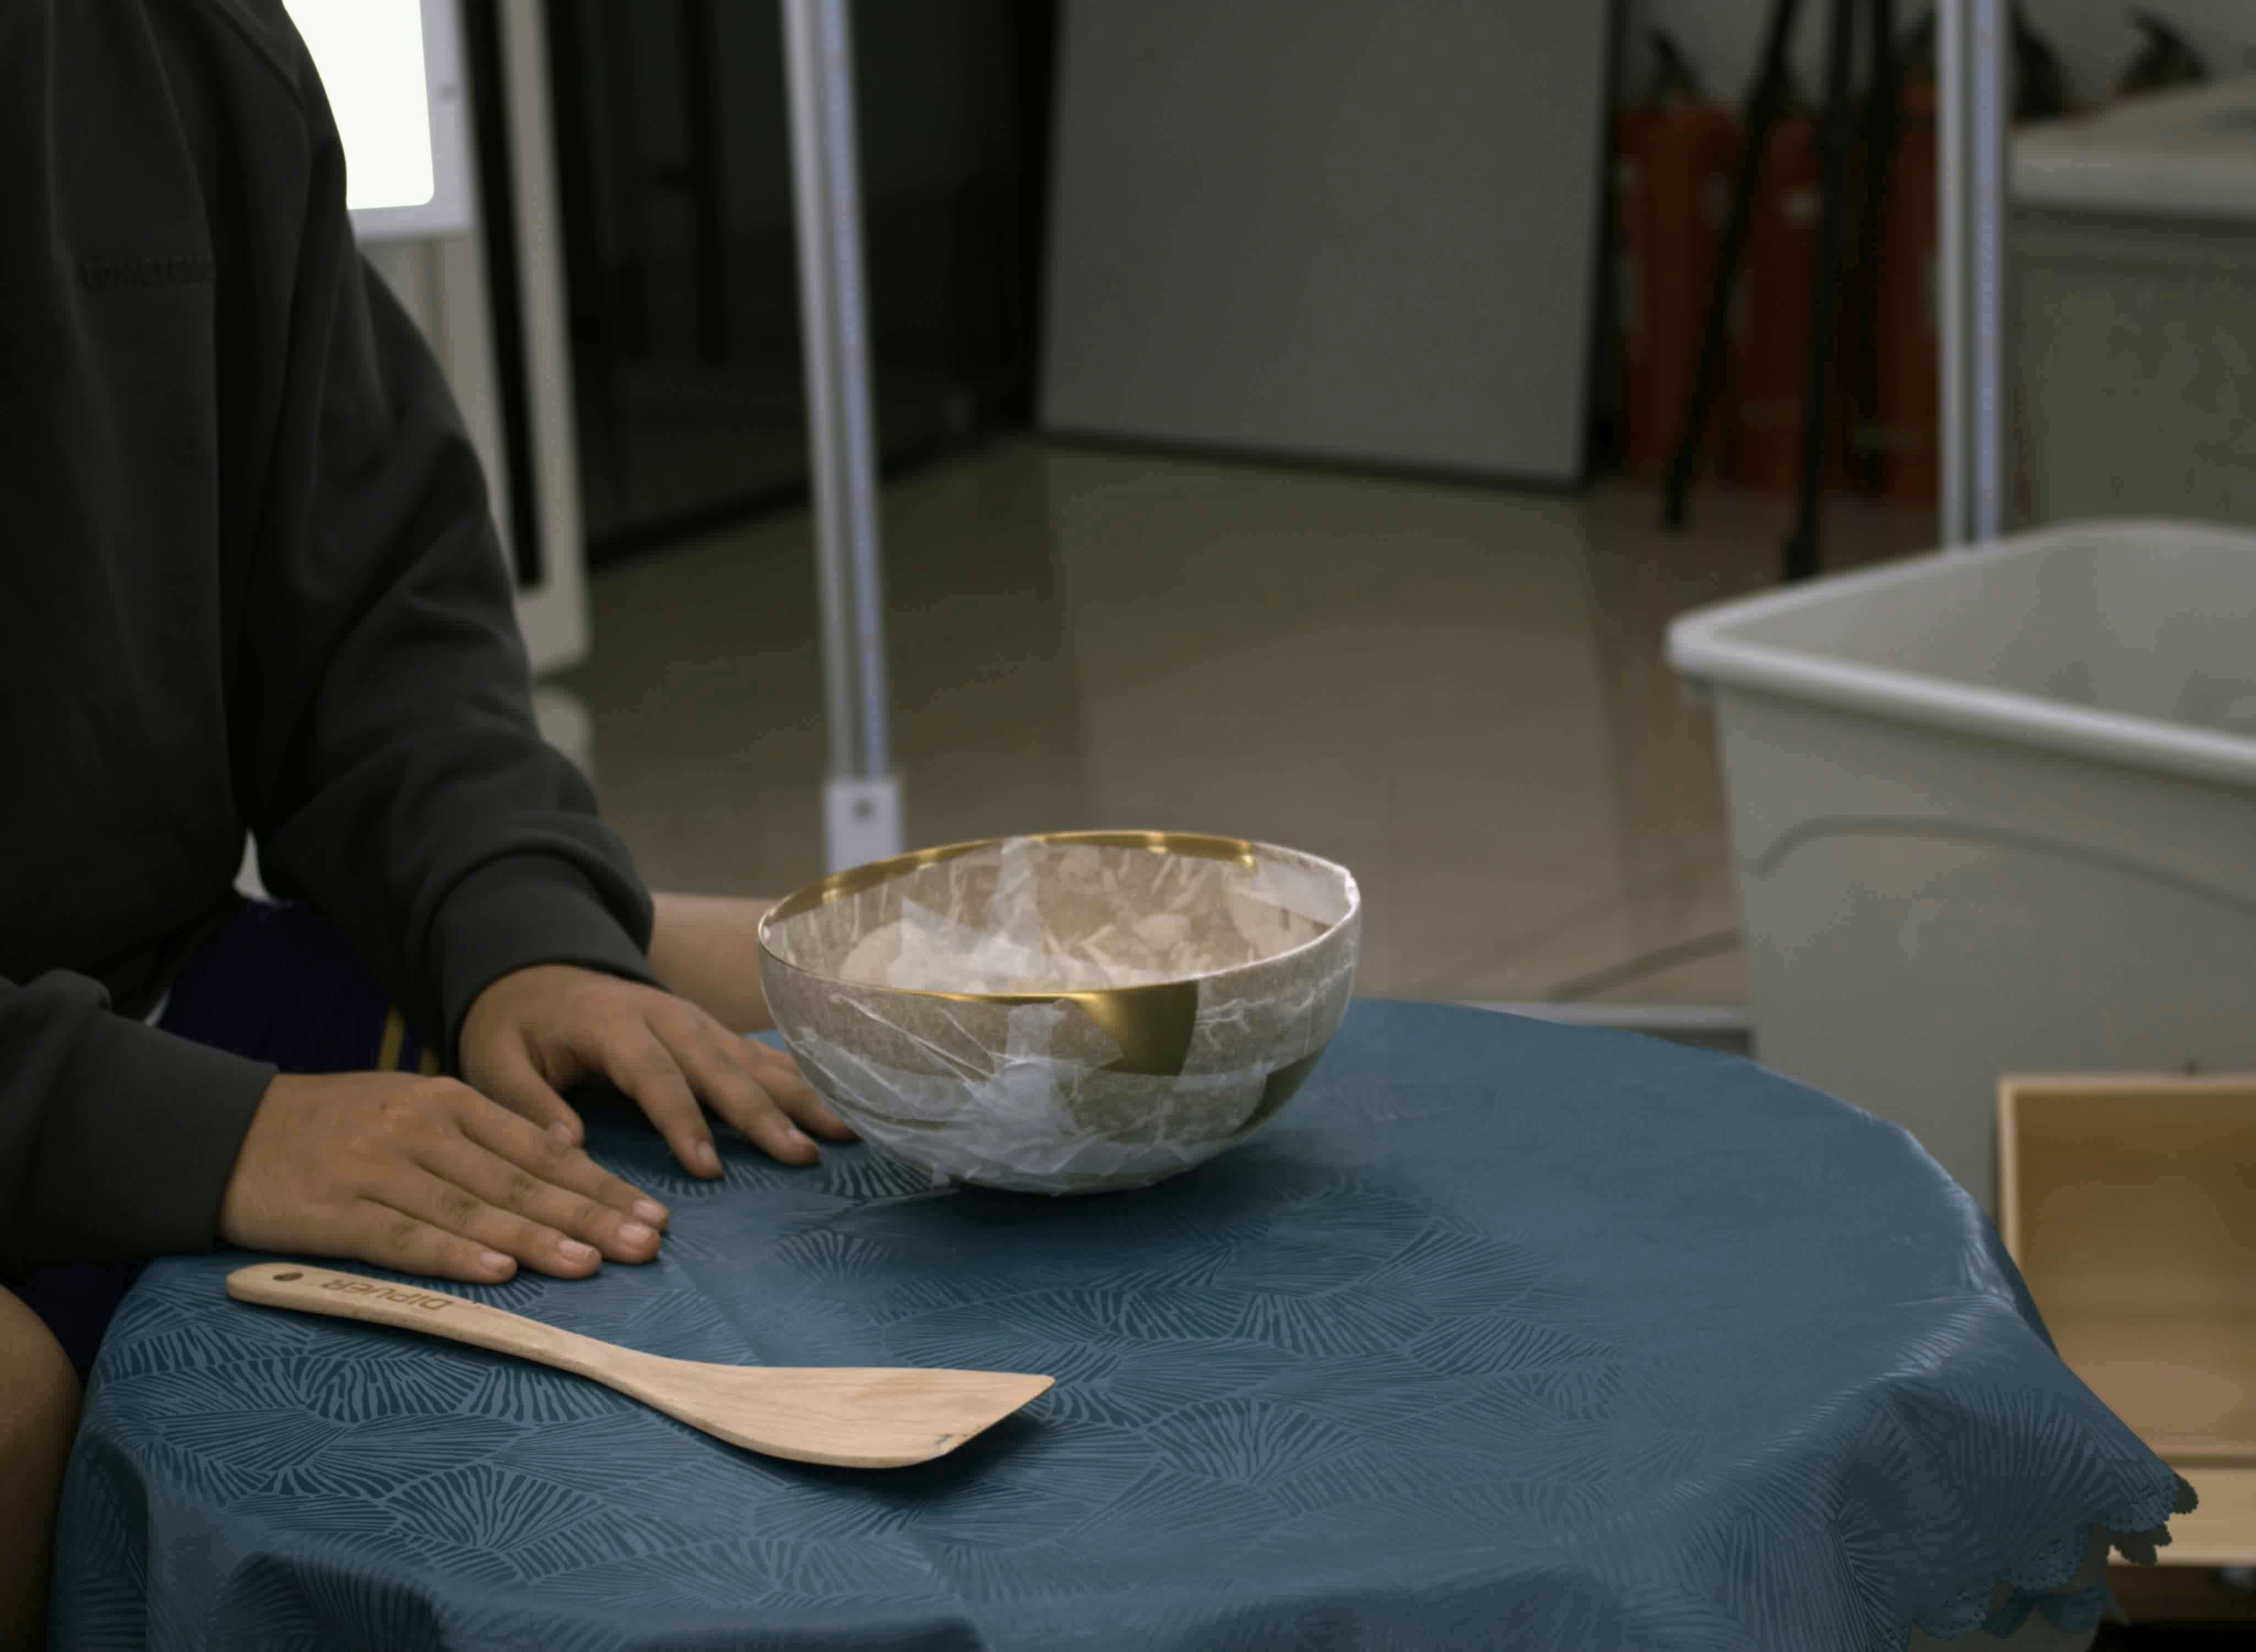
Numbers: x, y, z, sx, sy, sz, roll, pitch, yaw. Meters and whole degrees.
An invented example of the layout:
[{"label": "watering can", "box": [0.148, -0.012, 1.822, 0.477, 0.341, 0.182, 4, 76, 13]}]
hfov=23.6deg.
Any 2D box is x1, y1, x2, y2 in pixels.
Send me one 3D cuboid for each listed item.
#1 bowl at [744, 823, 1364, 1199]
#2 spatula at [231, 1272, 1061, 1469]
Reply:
[{"label": "bowl", "box": [-0.023, 0.068, 1.790, 0.212, 0.095, 0.215, -4, 14, 0]}, {"label": "spatula", "box": [-0.156, 0.158, 1.628, 0.330, 0.017, 0.078, 7, 18, 40]}]
